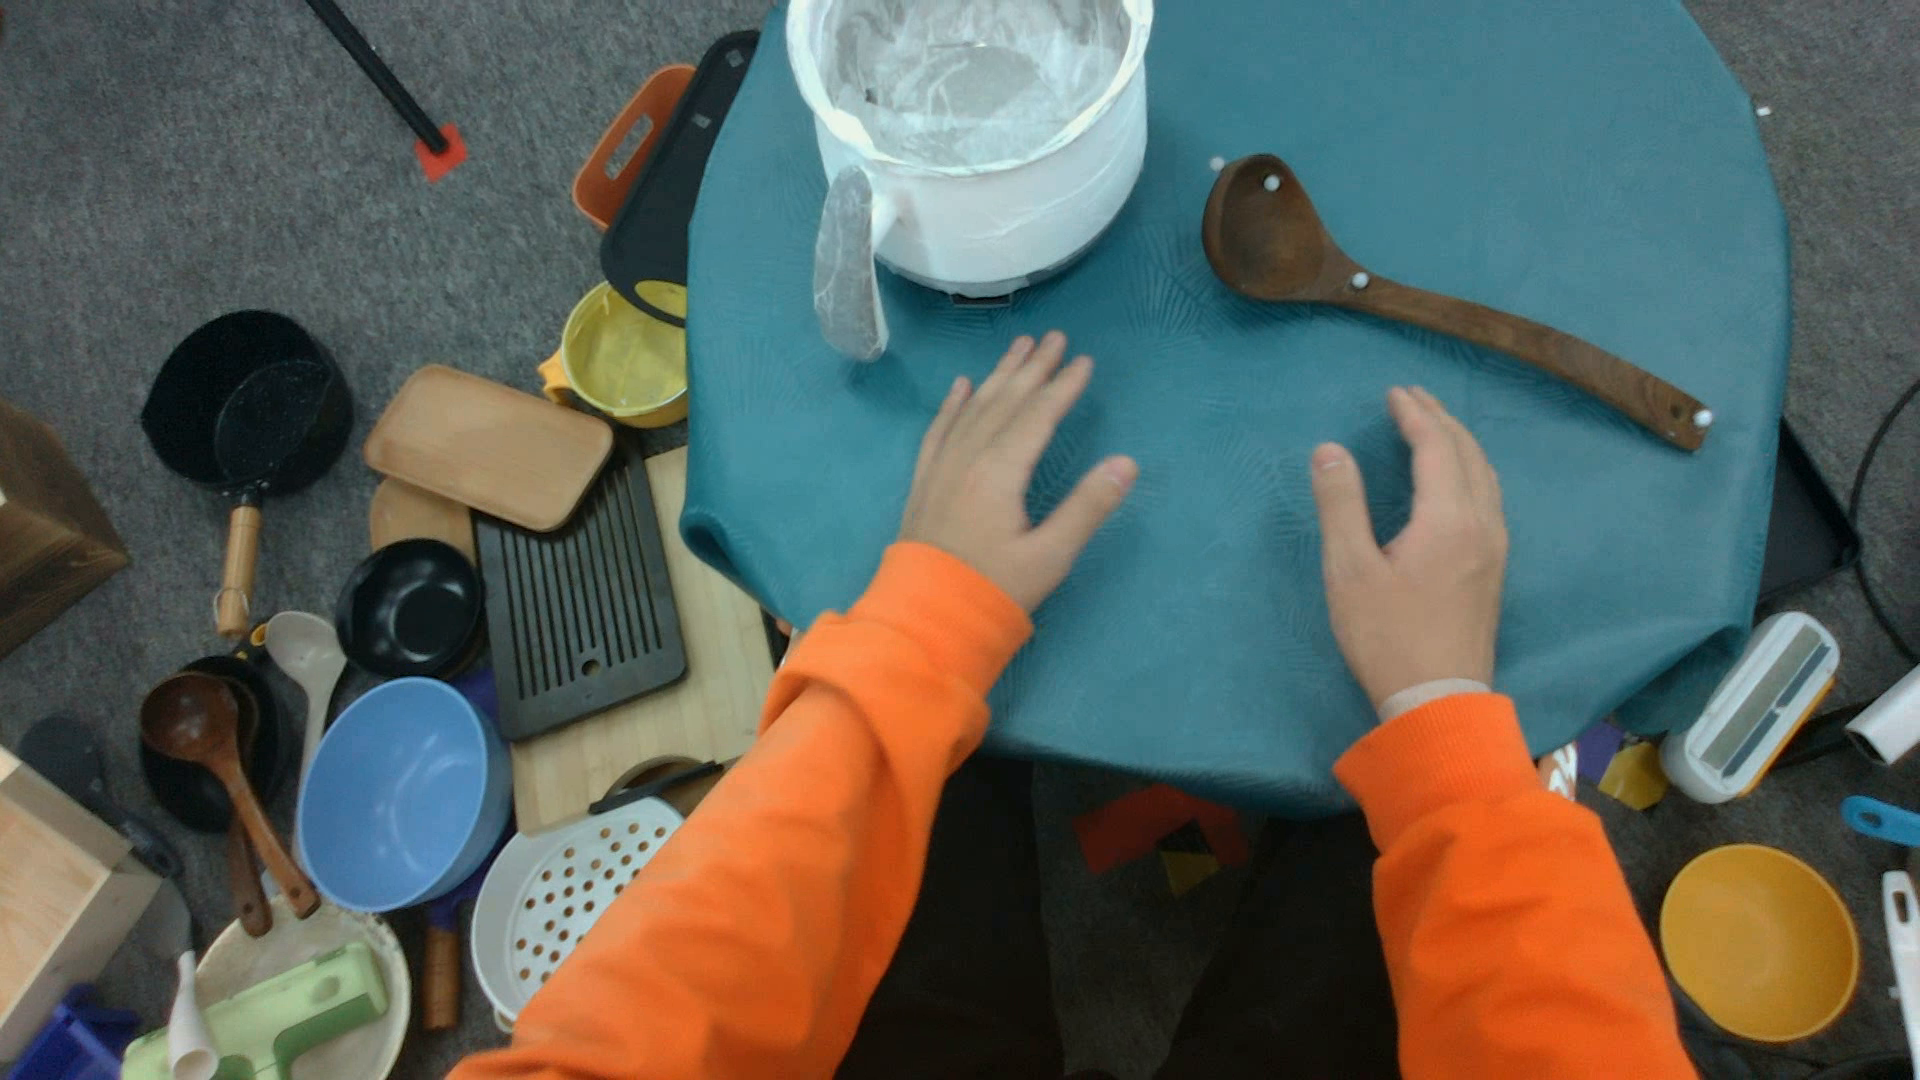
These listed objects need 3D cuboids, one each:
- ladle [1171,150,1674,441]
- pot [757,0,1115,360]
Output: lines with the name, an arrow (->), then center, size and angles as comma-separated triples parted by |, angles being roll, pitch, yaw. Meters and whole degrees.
ladle -> 0.239, -0.123, 0.707 | 0.274, 0.071, 0.076 | 24, 78, 13
pot -> -0.020, -0.209, 0.724 | 0.178, 0.136, 0.234 | 26, 75, 14
